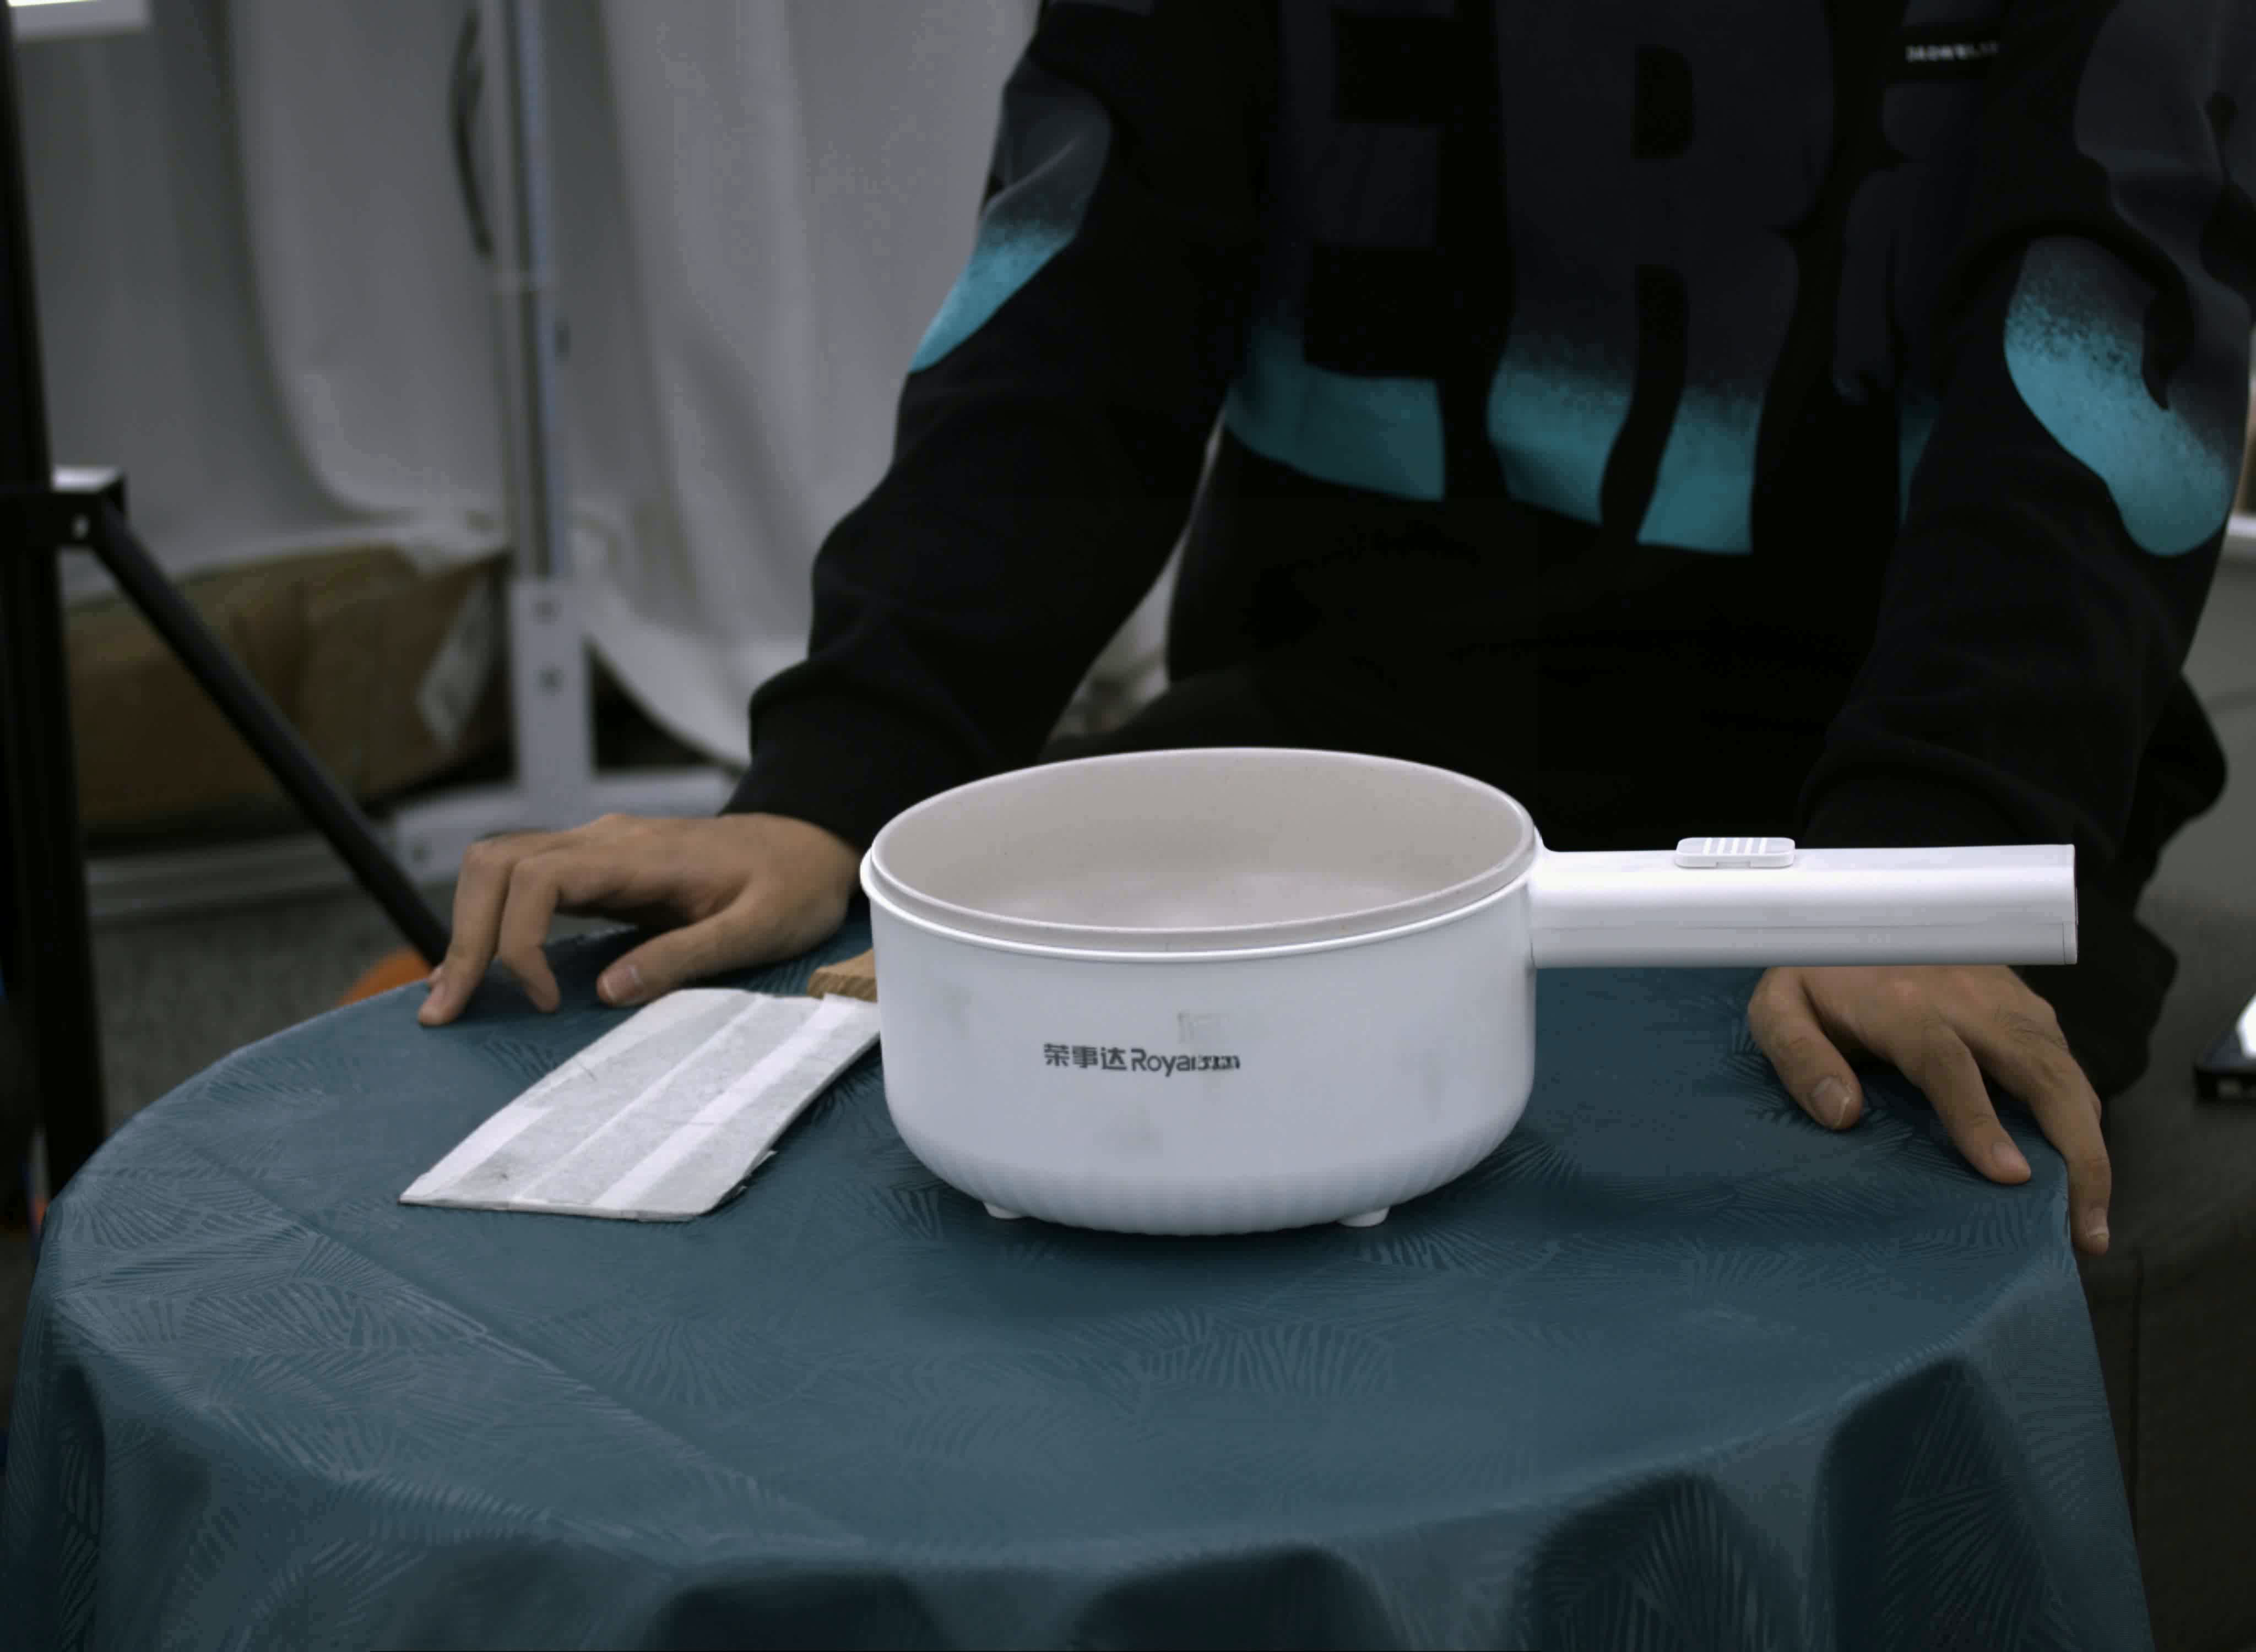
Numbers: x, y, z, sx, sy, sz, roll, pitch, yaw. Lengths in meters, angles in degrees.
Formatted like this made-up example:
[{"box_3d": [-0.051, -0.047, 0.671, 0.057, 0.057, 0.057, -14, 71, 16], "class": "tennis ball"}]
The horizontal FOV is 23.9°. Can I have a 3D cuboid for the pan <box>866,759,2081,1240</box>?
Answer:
[{"box_3d": [0.100, 0.055, 1.553, 0.356, 0.102, 0.200, 1, 14, 12], "class": "pan"}]

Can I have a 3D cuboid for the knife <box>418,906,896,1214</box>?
[{"box_3d": [-0.111, 0.066, 1.693, 0.115, 0.022, 0.311, 5, 20, 25], "class": "knife"}]
